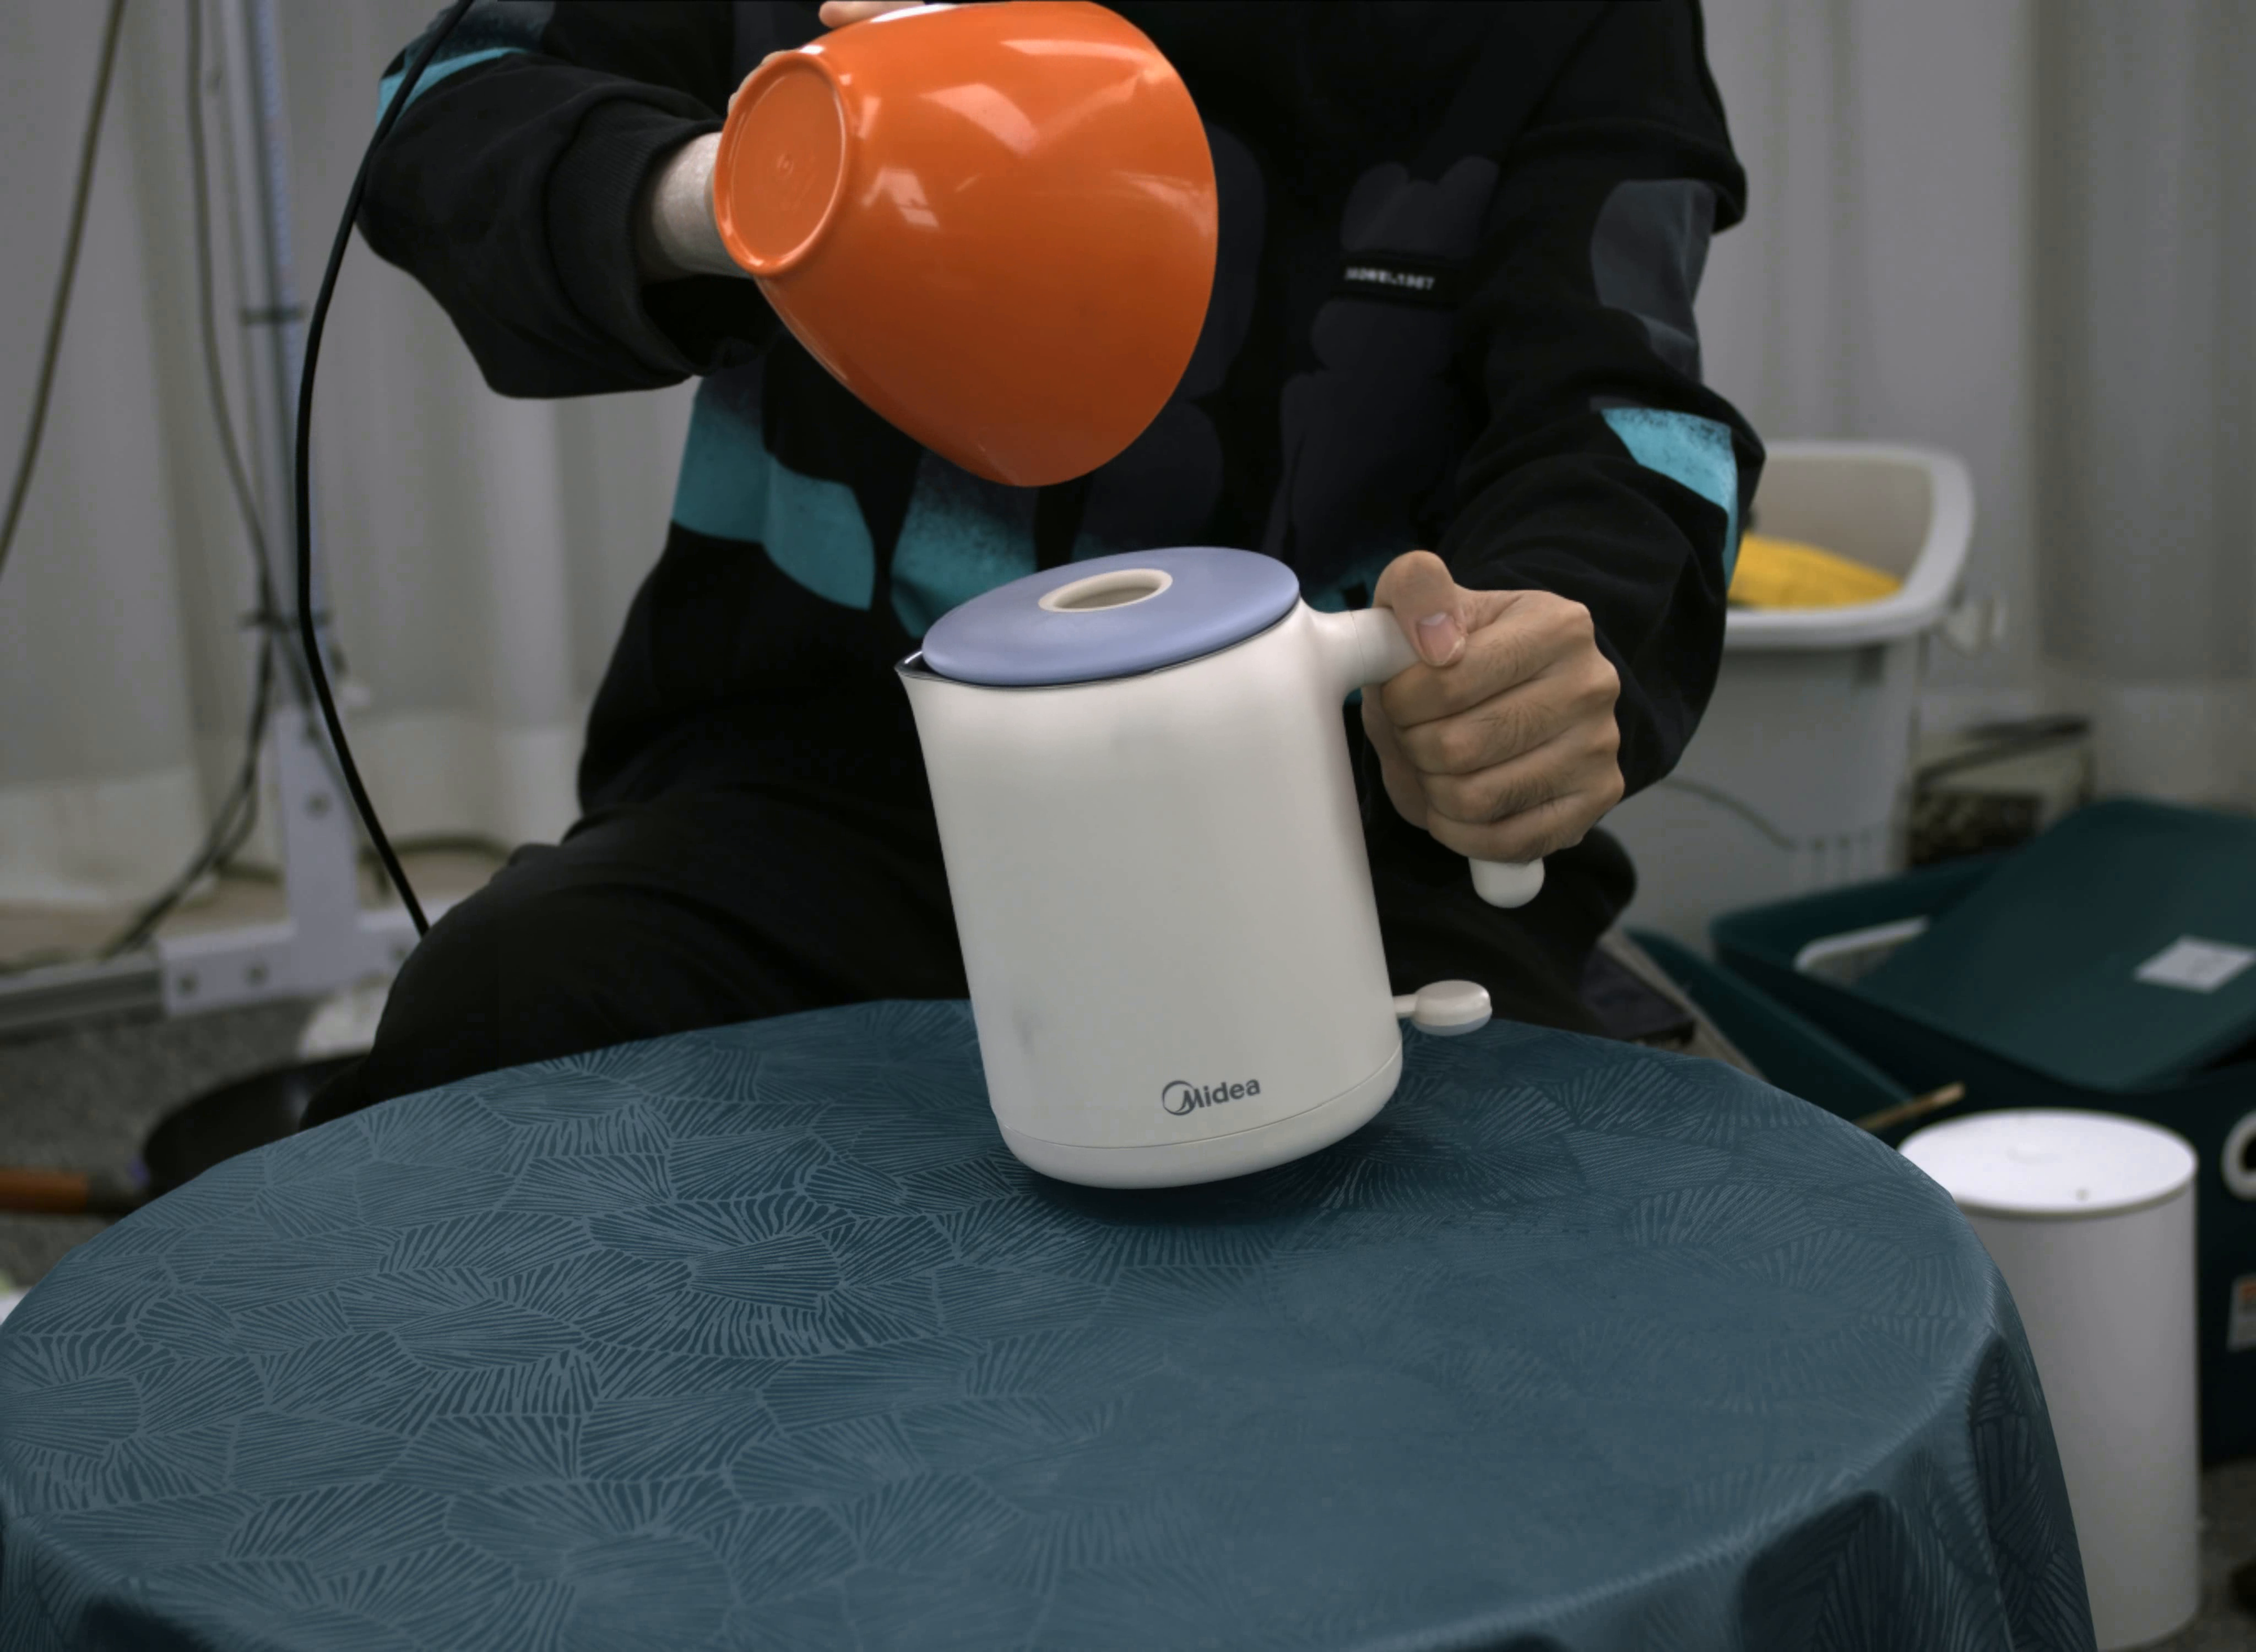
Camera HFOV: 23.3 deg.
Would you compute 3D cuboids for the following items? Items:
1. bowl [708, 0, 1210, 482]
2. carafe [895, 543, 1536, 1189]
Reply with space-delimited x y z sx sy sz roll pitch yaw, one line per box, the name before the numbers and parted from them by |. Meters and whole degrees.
bowl | -0.060 -0.183 1.631 0.104 0.148 0.149 10 4 -39
carafe | 0.032 0.007 1.709 0.190 0.181 0.133 -9 17 -5
